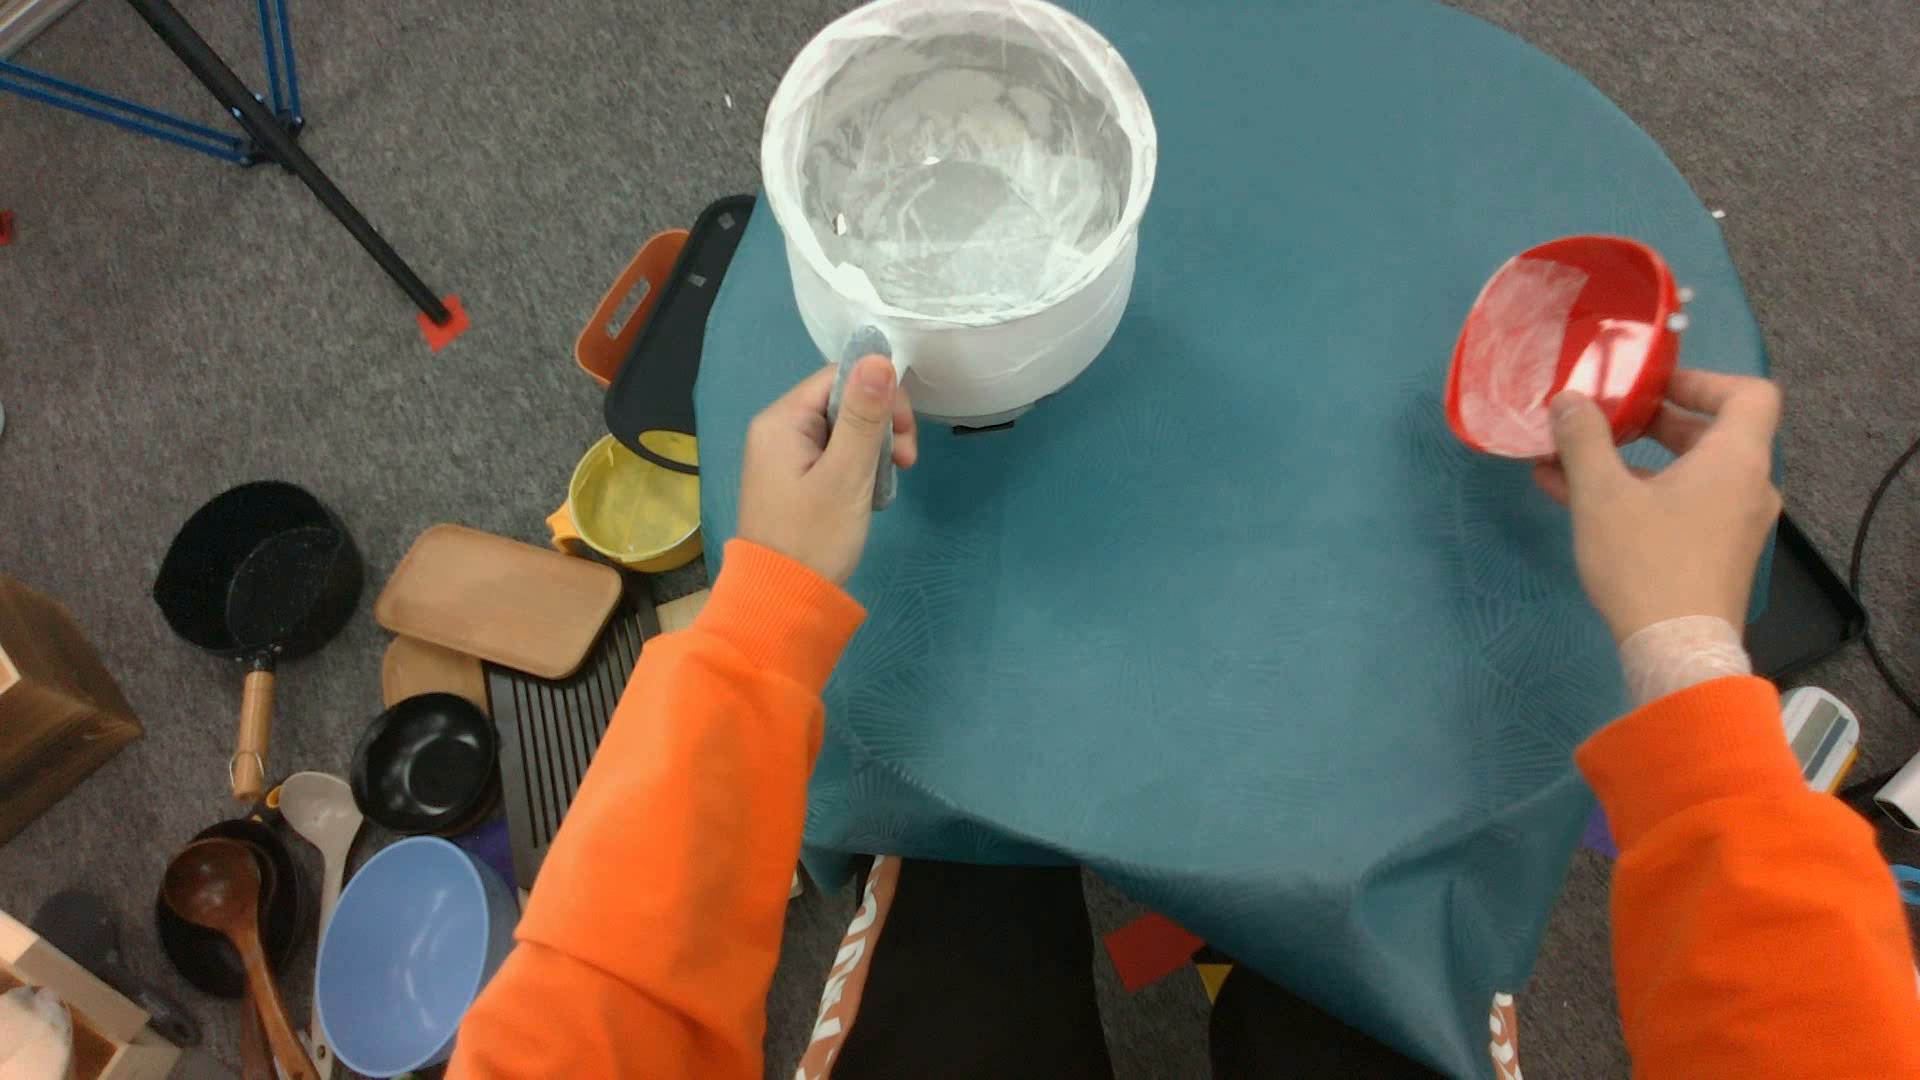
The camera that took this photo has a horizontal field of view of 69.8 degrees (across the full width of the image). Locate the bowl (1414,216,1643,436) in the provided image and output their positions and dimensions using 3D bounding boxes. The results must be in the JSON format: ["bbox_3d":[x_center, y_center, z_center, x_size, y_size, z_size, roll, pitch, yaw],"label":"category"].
[{"bbox_3d":[0.284,-0.097,0.672,0.051,0.118,0.119,20,62,-32],"label":"bowl"}]

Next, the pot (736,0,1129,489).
[{"bbox_3d":[-0.022,-0.143,0.670,0.178,0.136,0.234,19,73,6],"label":"pot"}]
